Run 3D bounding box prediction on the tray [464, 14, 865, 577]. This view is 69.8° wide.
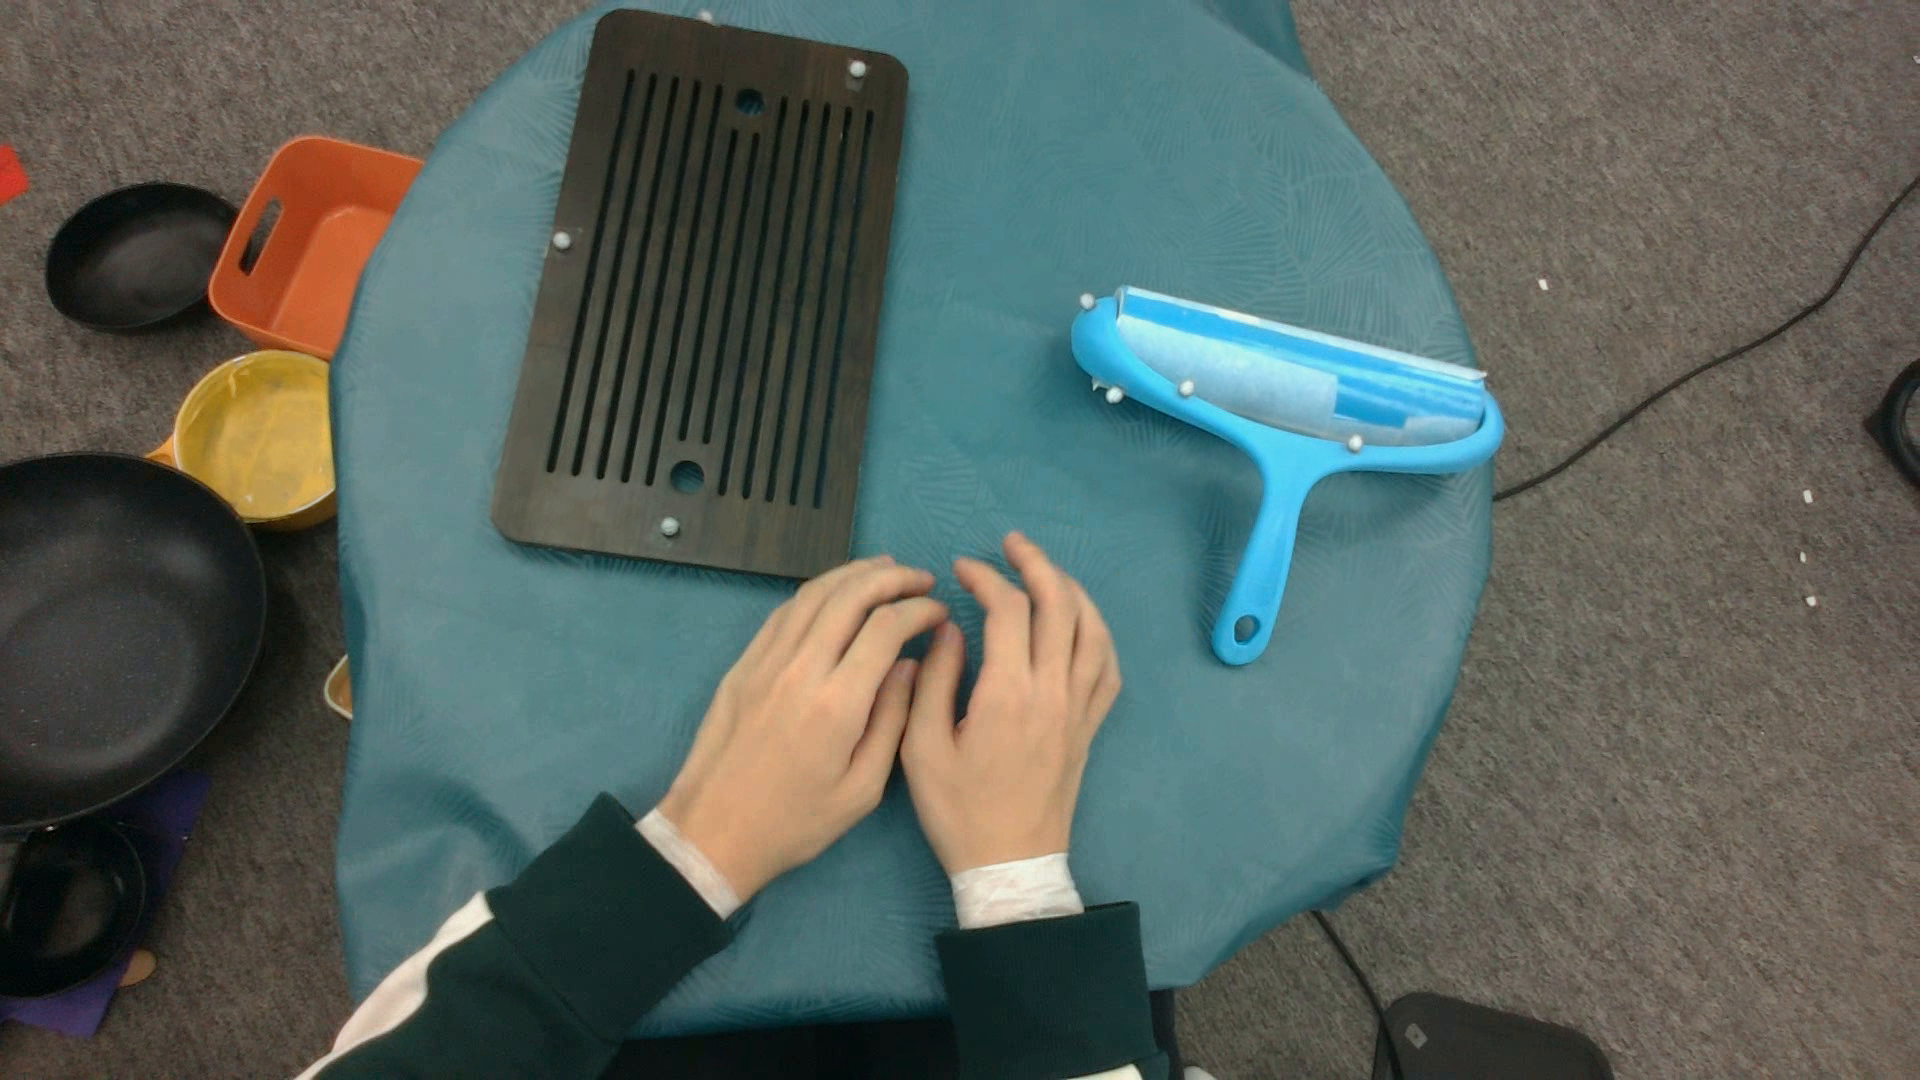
[{"bbox_3d":[-0.143,-0.132,0.707,0.170,0.018,0.307,5,71,-7],"label":"tray"}]

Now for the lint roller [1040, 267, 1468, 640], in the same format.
[{"bbox_3d":[0.148,-0.042,0.700,0.229,0.067,0.181,9,69,-7],"label":"lint roller"}]
